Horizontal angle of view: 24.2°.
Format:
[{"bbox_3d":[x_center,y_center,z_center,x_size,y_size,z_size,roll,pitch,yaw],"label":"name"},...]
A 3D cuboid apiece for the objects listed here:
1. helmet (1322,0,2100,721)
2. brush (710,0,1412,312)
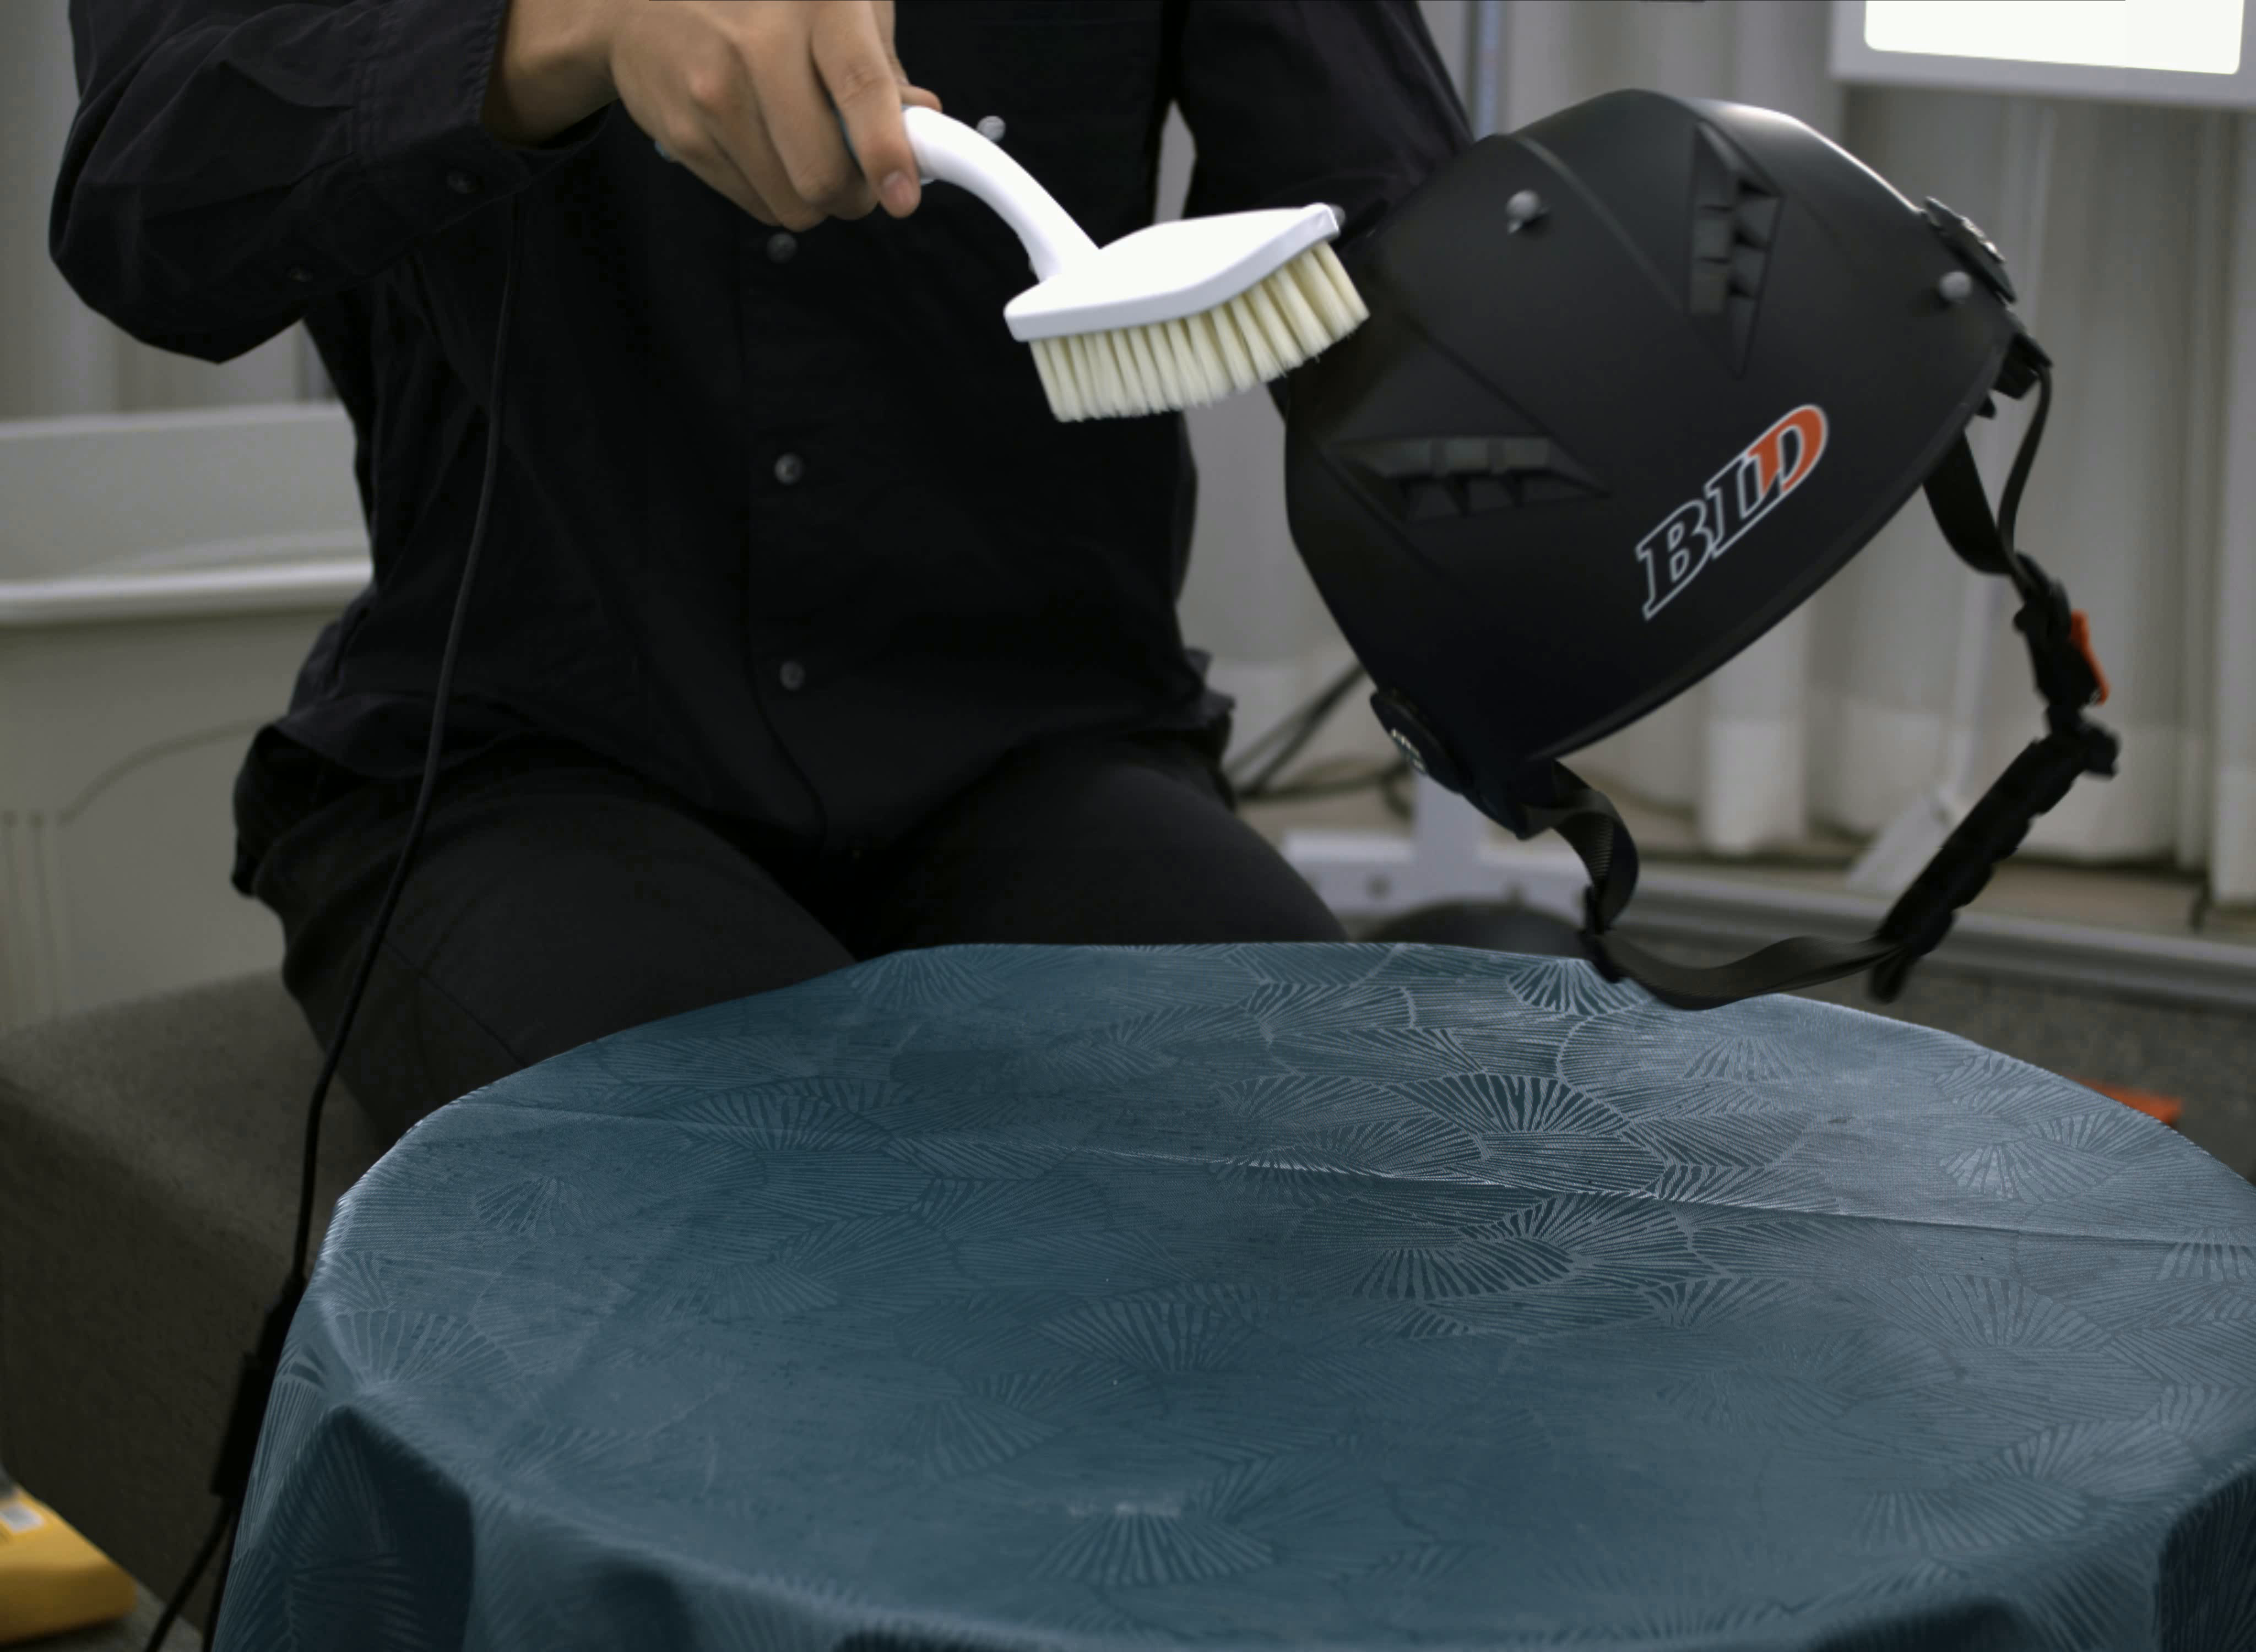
[{"bbox_3d":[0.159,-0.166,1.600,0.246,0.173,0.275,-42,11,3],"label":"helmet"},{"bbox_3d":[-0.022,-0.210,1.673,0.084,0.085,0.321,9,6,-42],"label":"brush"}]
